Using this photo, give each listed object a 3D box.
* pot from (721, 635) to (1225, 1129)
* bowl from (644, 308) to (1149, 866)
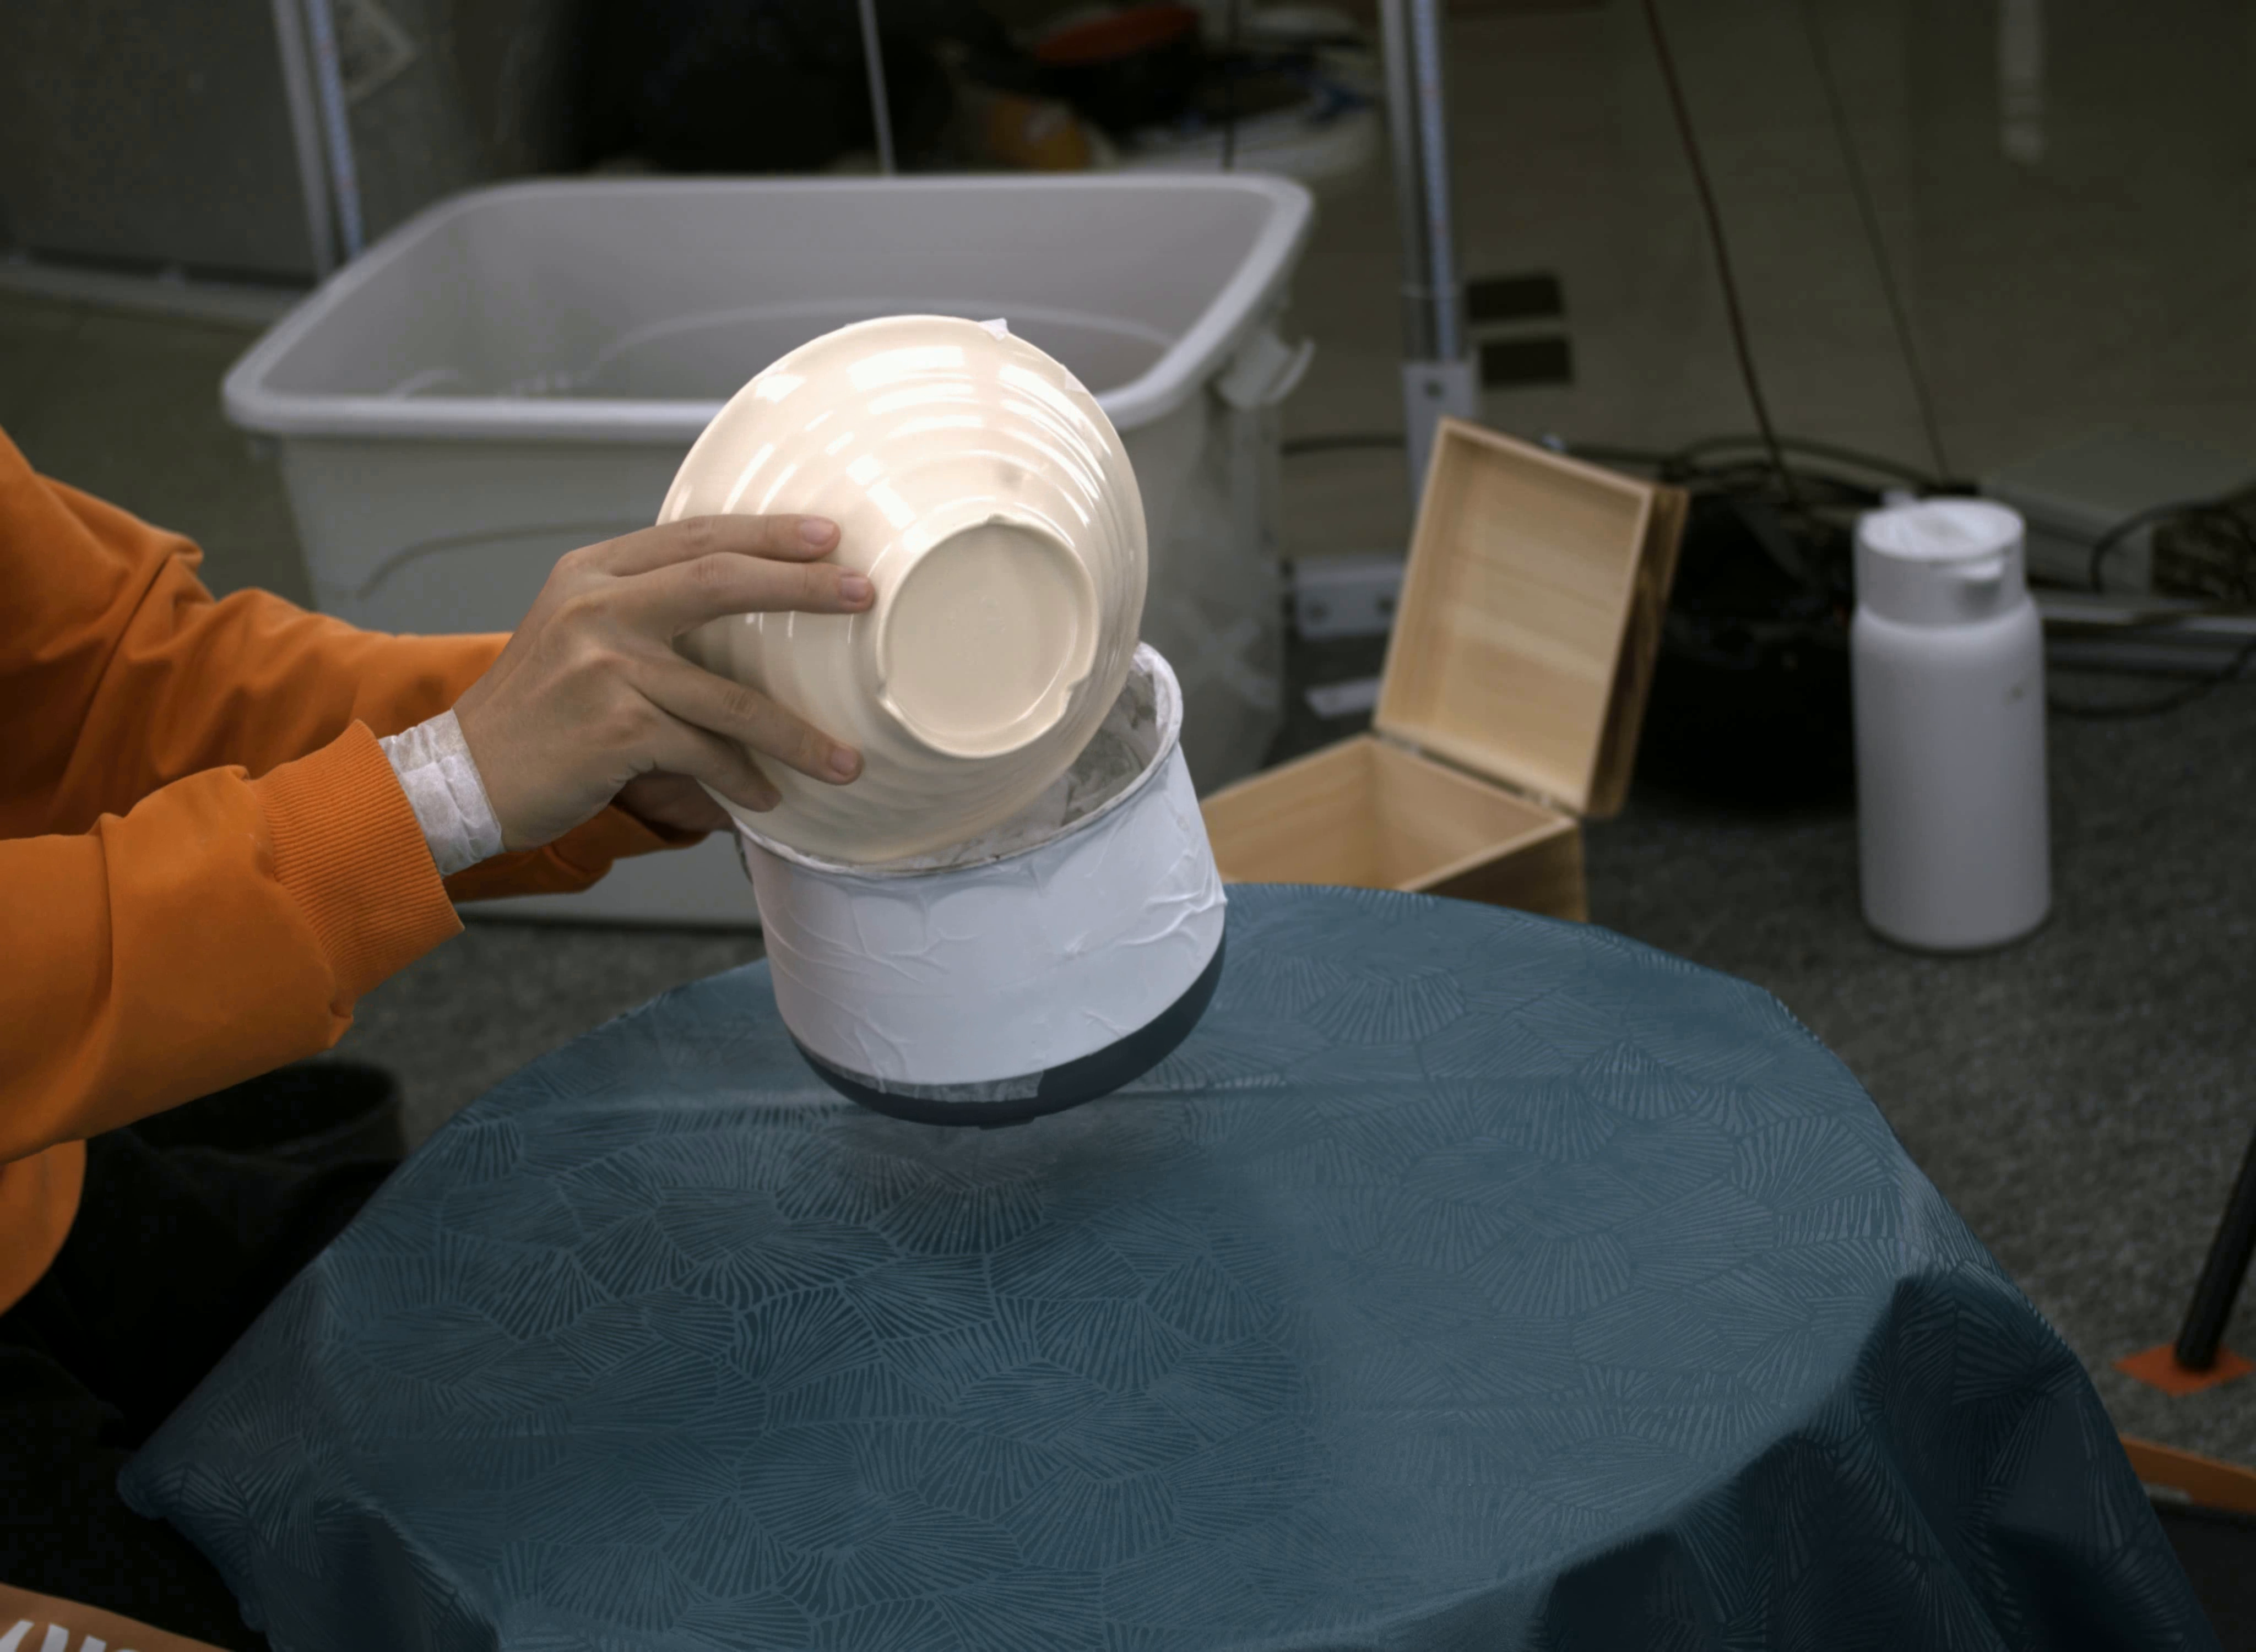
[{"bbox_3d":[-0.075,0.011,2.176,0.231,0.139,0.177,23,47,41],"label":"pot"},{"bbox_3d":[-0.064,-0.078,2.008,0.203,0.207,0.077,-19,23,-25],"label":"bowl"}]
